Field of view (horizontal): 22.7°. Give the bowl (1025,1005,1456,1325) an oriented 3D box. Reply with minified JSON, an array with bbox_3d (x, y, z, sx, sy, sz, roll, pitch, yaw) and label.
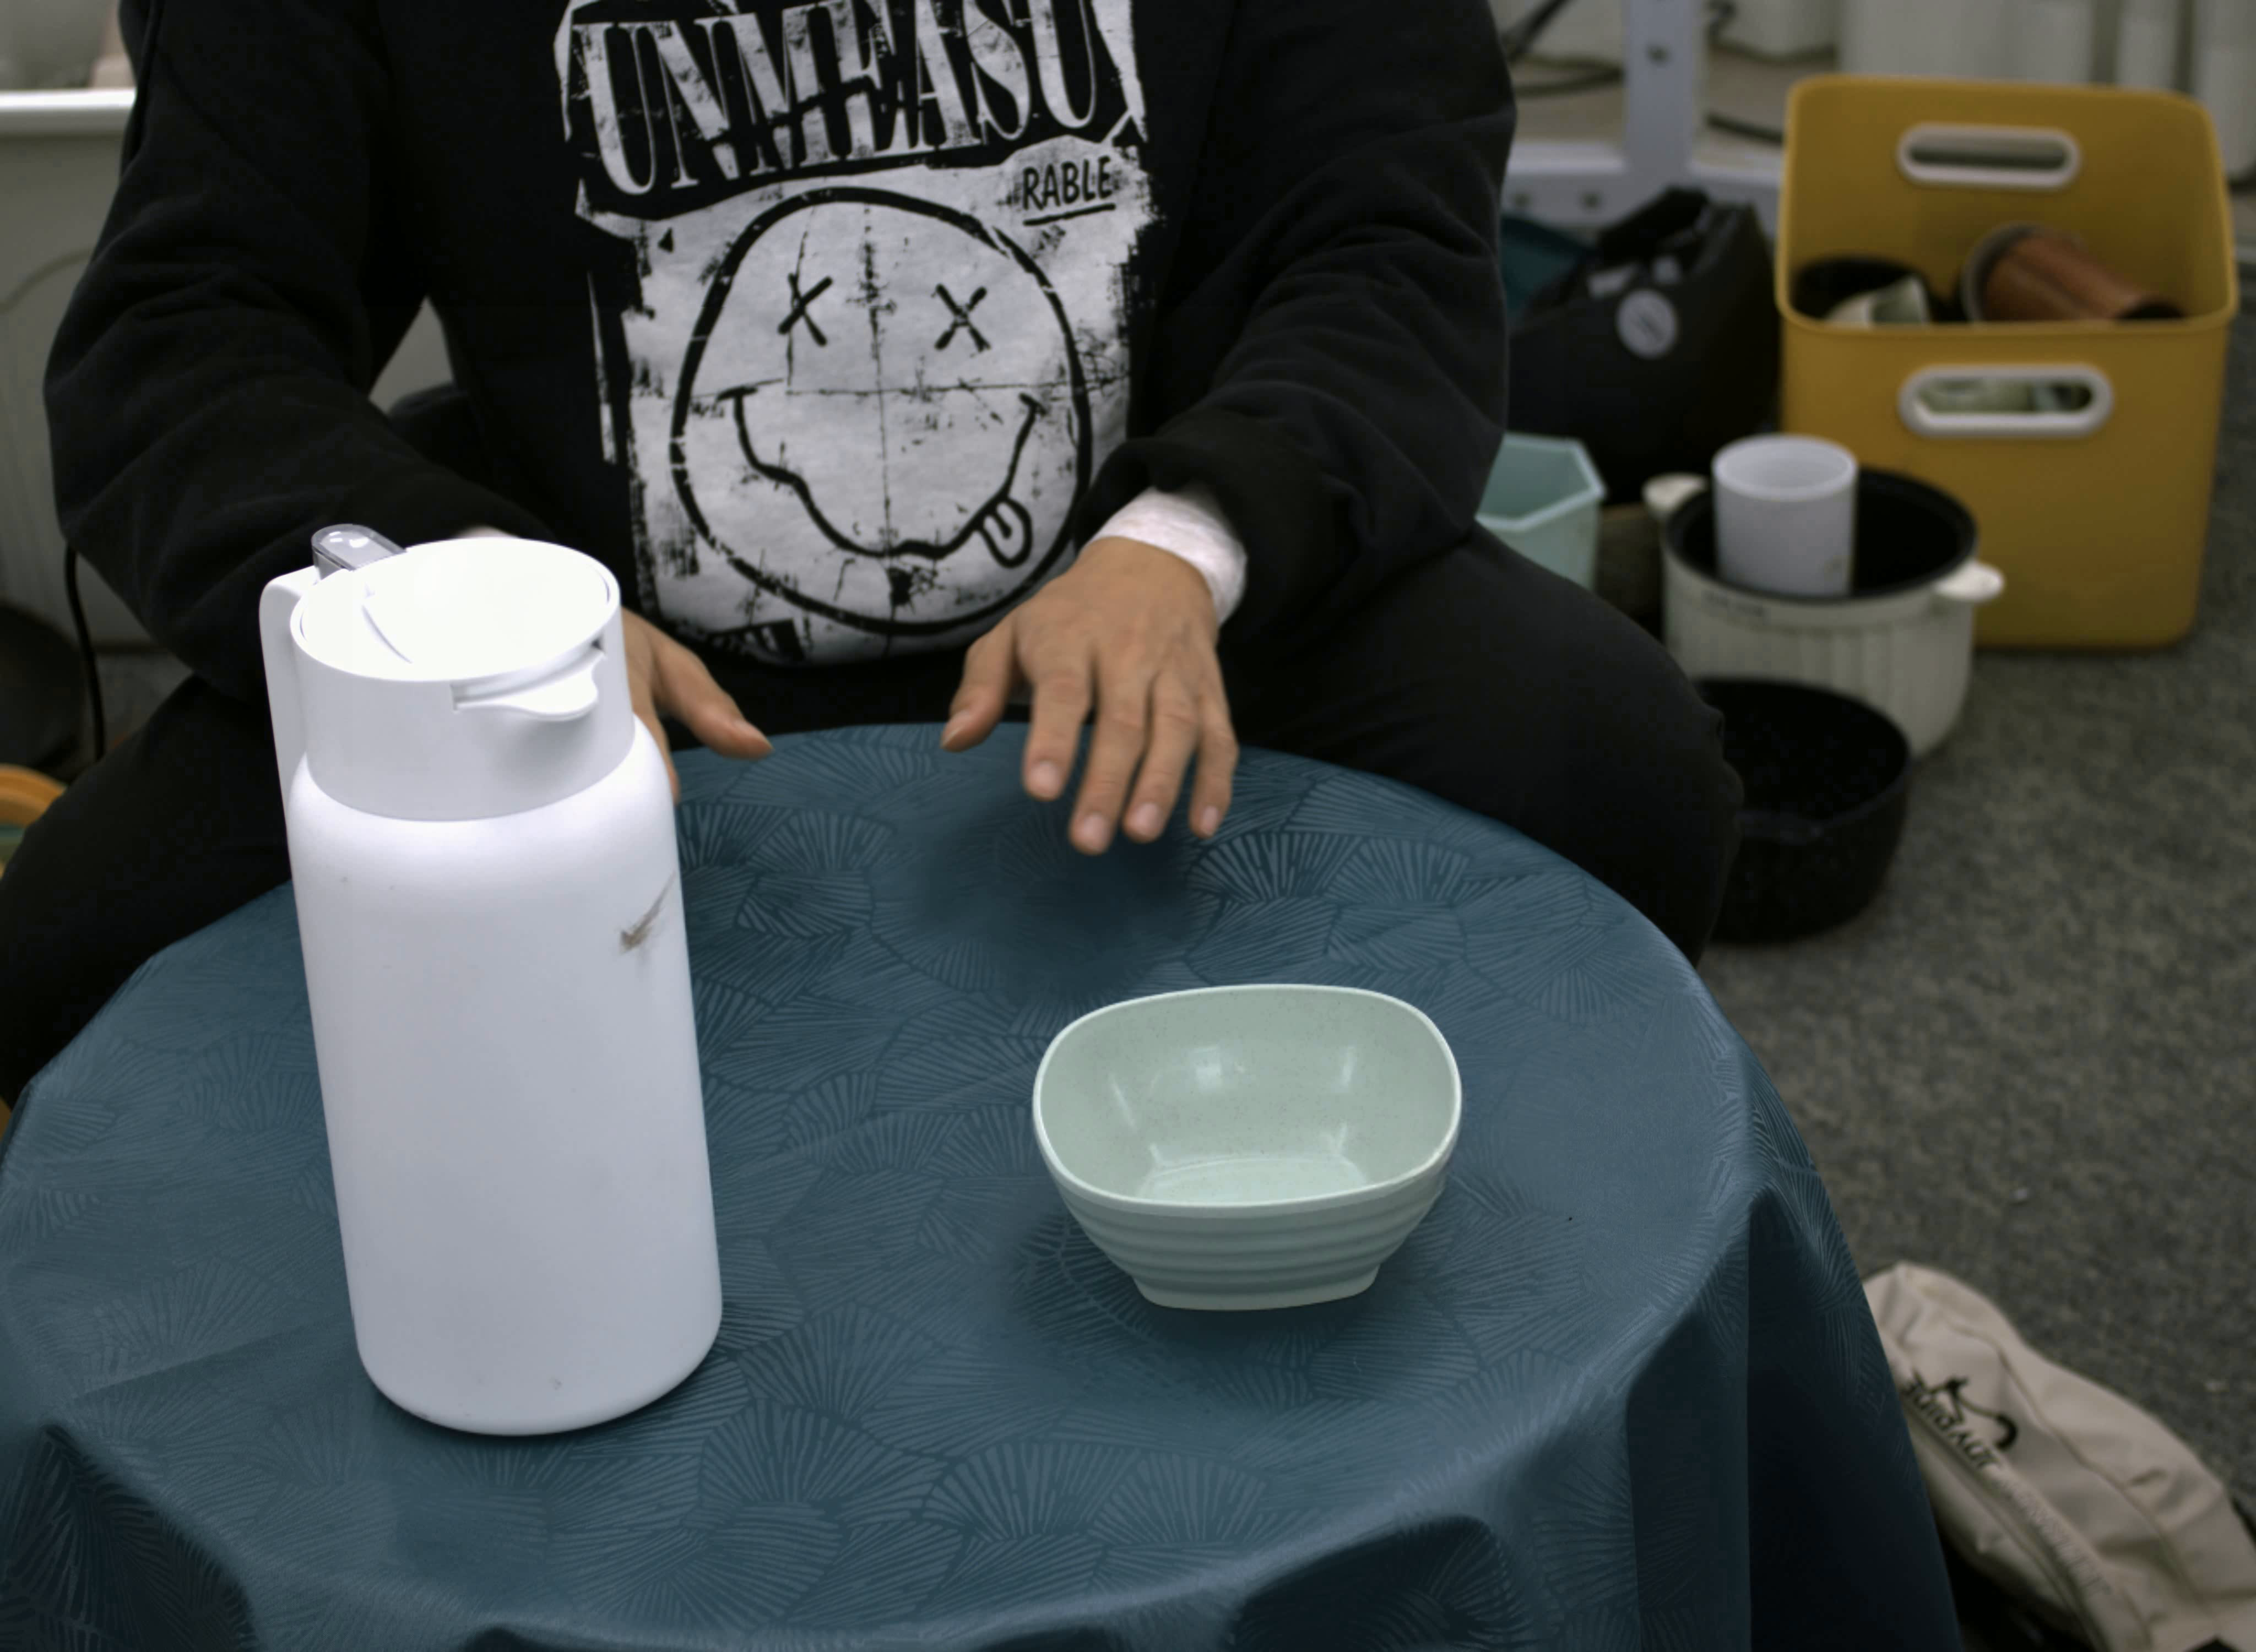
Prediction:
[{"bbox_3d":[0.038,0.115,1.817,0.151,0.058,0.153,-3,25,2],"label":"bowl"}]

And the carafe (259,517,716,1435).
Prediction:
[{"bbox_3d":[-0.206,0.043,1.744,0.125,0.266,0.173,-24,33,-32],"label":"carafe"}]
